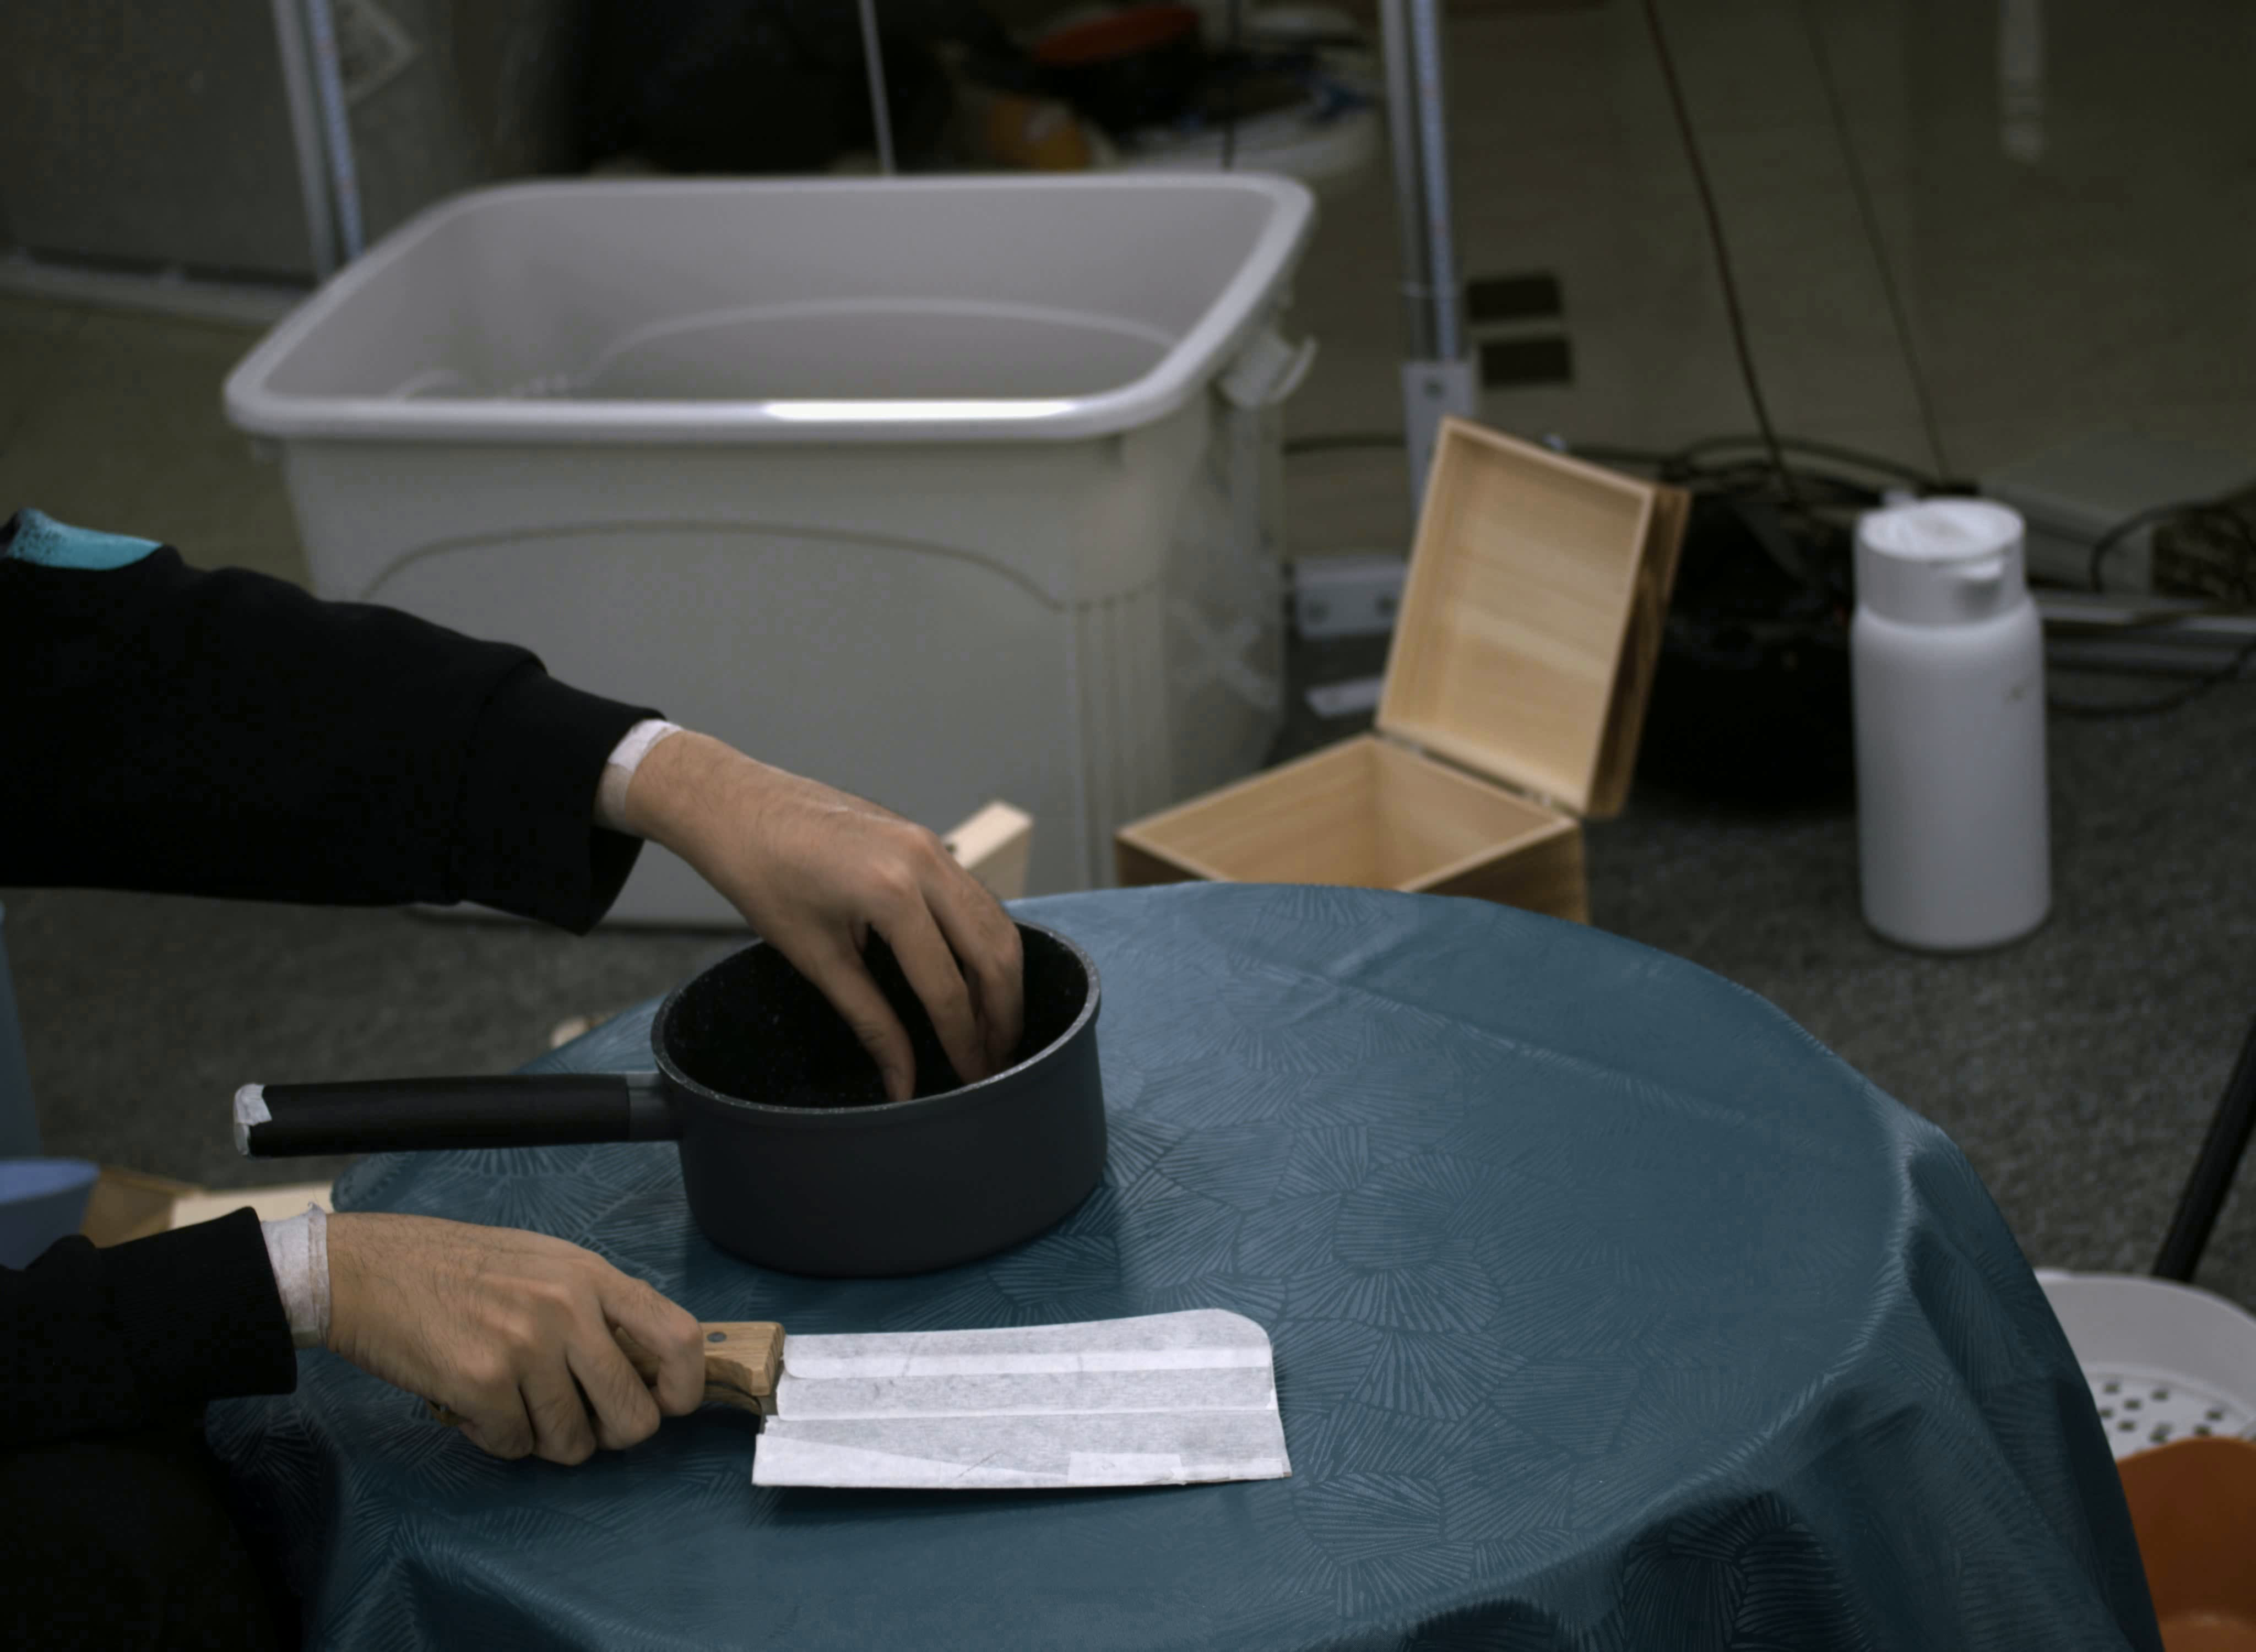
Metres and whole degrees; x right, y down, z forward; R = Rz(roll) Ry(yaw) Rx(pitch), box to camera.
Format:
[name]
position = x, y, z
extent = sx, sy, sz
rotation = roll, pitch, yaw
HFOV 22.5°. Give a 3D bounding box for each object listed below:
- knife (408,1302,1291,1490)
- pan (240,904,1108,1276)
[knife]
position = -0.098, 0.199, 2.000
extent = 0.315, 0.022, 0.112
rotation = 1, 31, 4
[pan]
position = -0.169, 0.111, 2.147
extent = 0.328, 0.088, 0.169
rotation = -9, 23, -6
